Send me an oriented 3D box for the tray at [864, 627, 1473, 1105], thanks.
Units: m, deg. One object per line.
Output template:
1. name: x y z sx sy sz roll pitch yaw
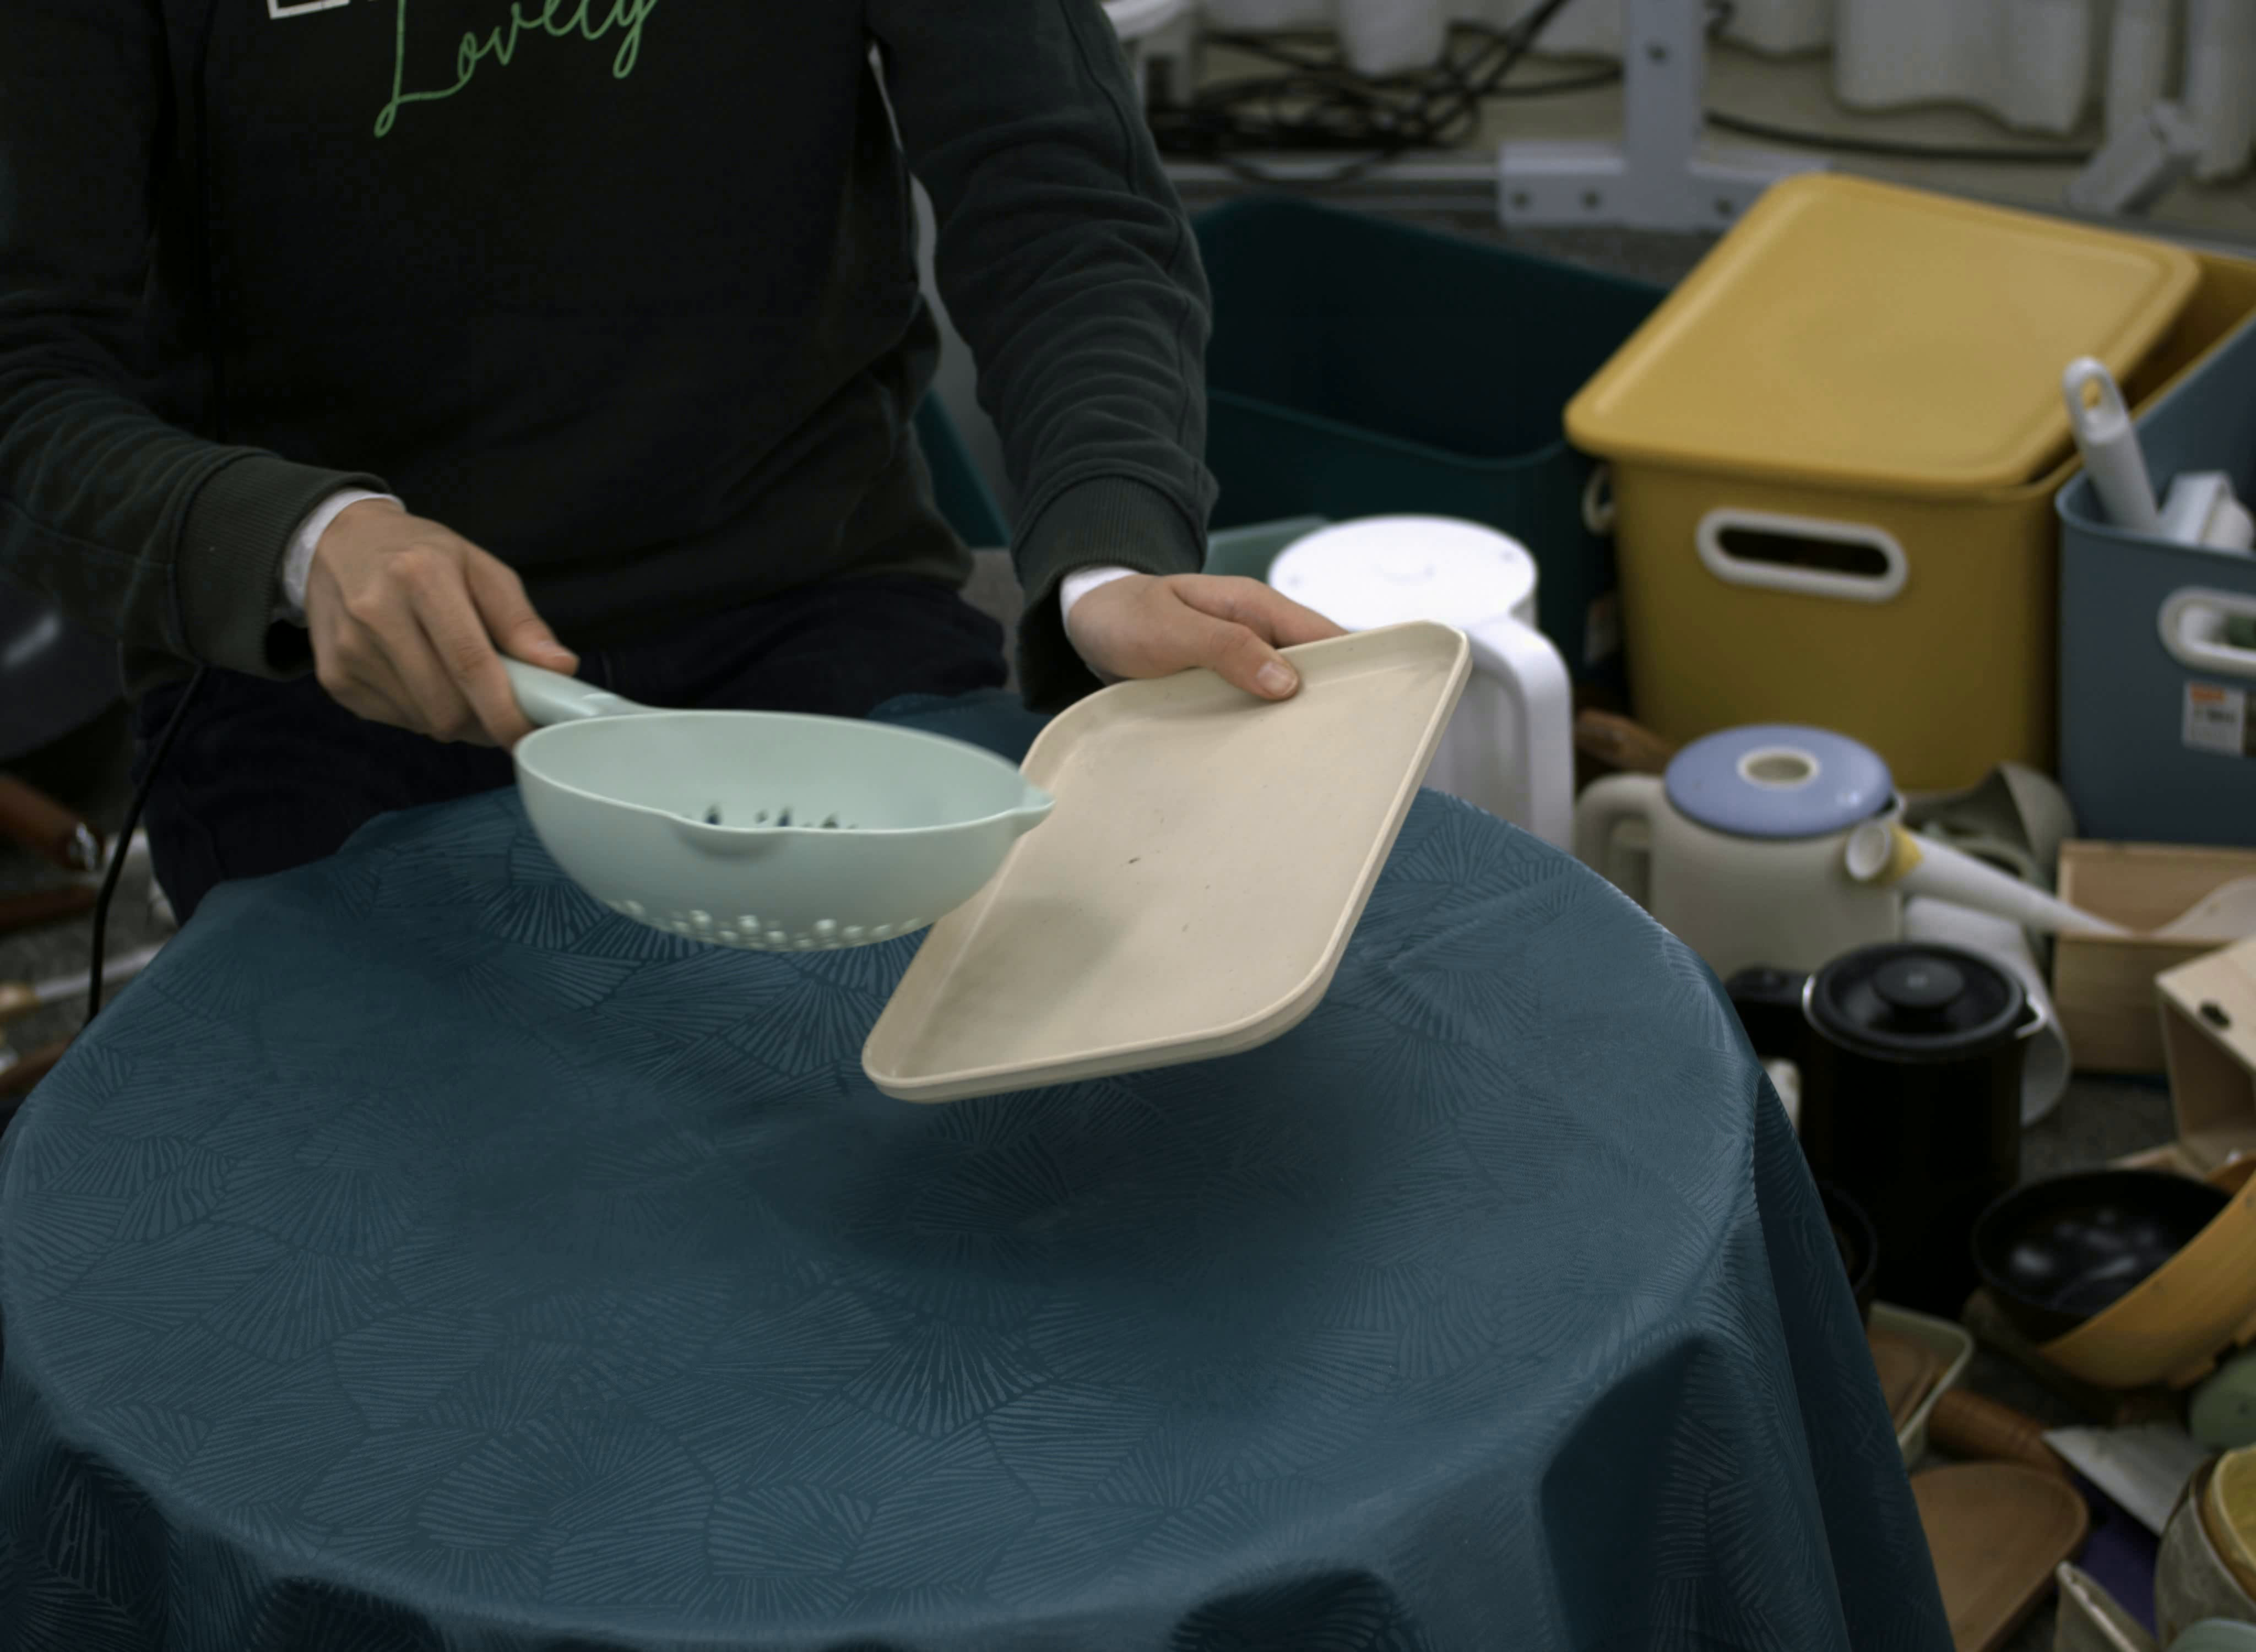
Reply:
1. tray: 0.018 0.013 1.865 0.169 0.017 0.244 -12 28 27

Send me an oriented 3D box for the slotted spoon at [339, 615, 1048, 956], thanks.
1. slotted spoon: -0.176 -0.028 1.908 0.170 0.075 0.360 -1 21 -37
